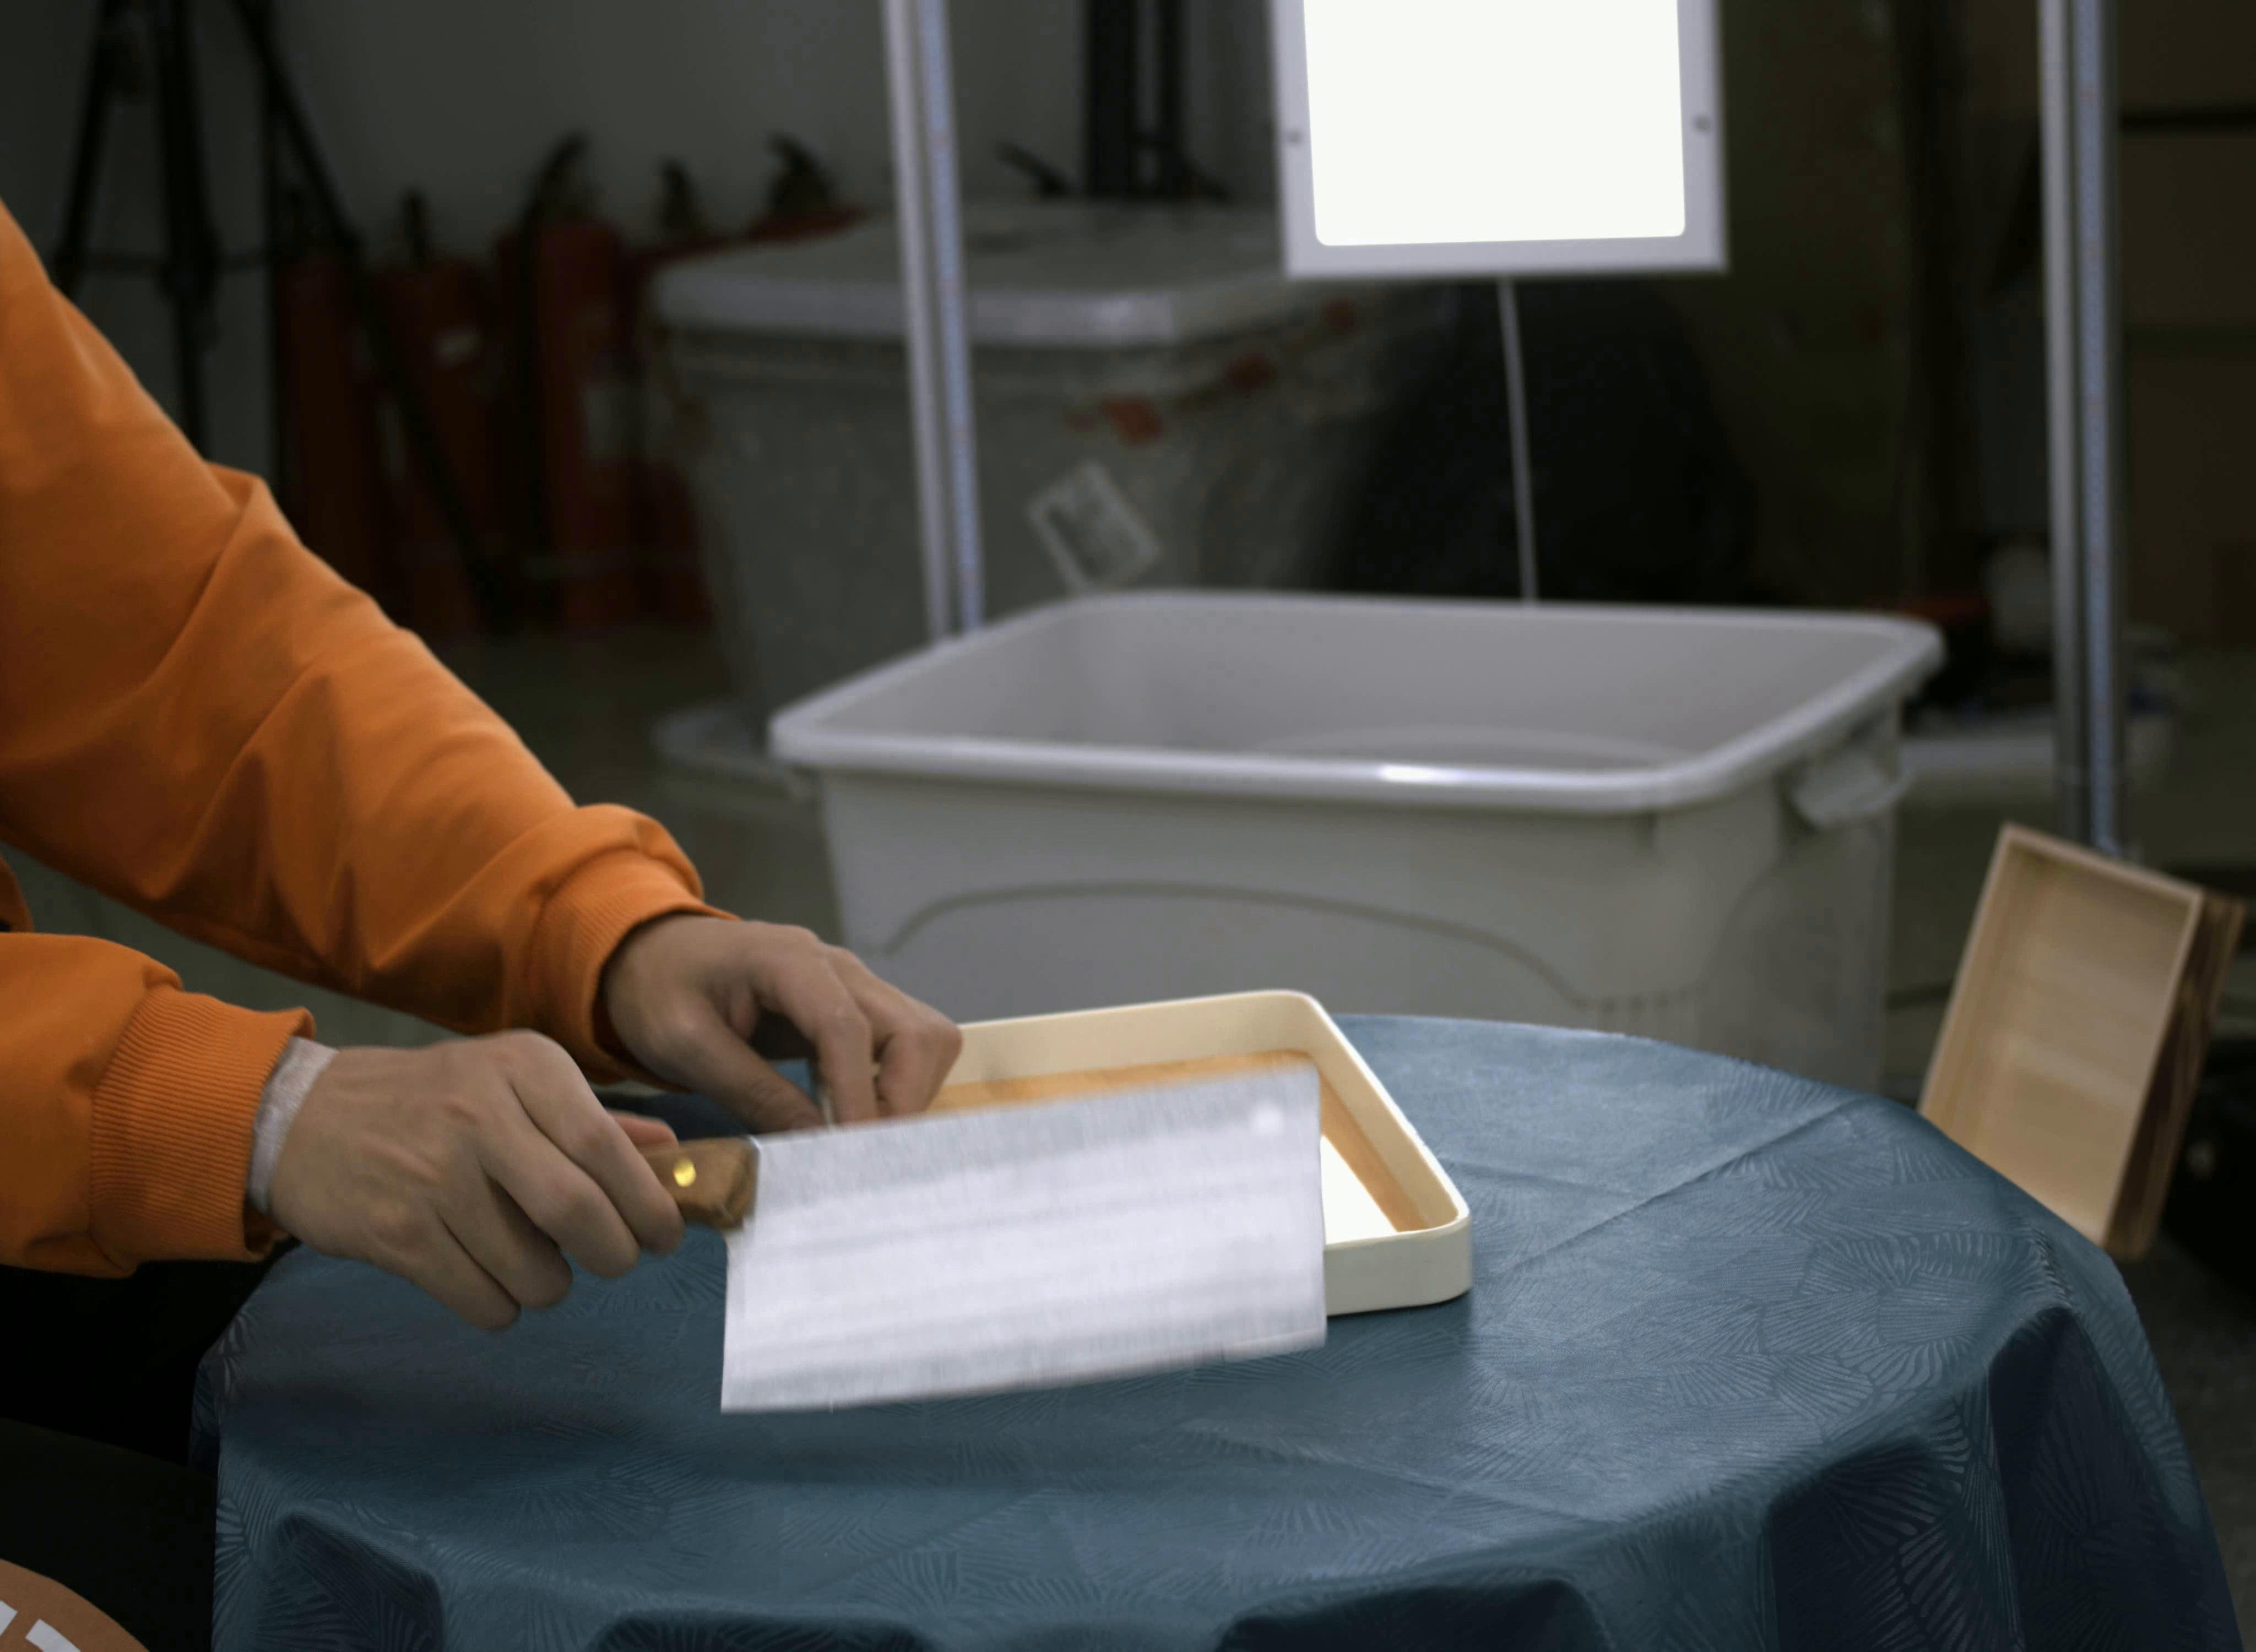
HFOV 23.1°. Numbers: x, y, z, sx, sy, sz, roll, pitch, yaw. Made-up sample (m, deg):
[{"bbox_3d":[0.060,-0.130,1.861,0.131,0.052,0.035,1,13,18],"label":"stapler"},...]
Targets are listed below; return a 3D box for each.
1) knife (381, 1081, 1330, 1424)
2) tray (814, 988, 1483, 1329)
[{"bbox_3d":[-0.087,0.135,1.671,0.309,0.093,0.021,-8,-30,17],"label":"knife"},{"bbox_3d":[0.001,0.115,1.886,0.190,0.027,0.301,-7,14,-7],"label":"tray"}]
